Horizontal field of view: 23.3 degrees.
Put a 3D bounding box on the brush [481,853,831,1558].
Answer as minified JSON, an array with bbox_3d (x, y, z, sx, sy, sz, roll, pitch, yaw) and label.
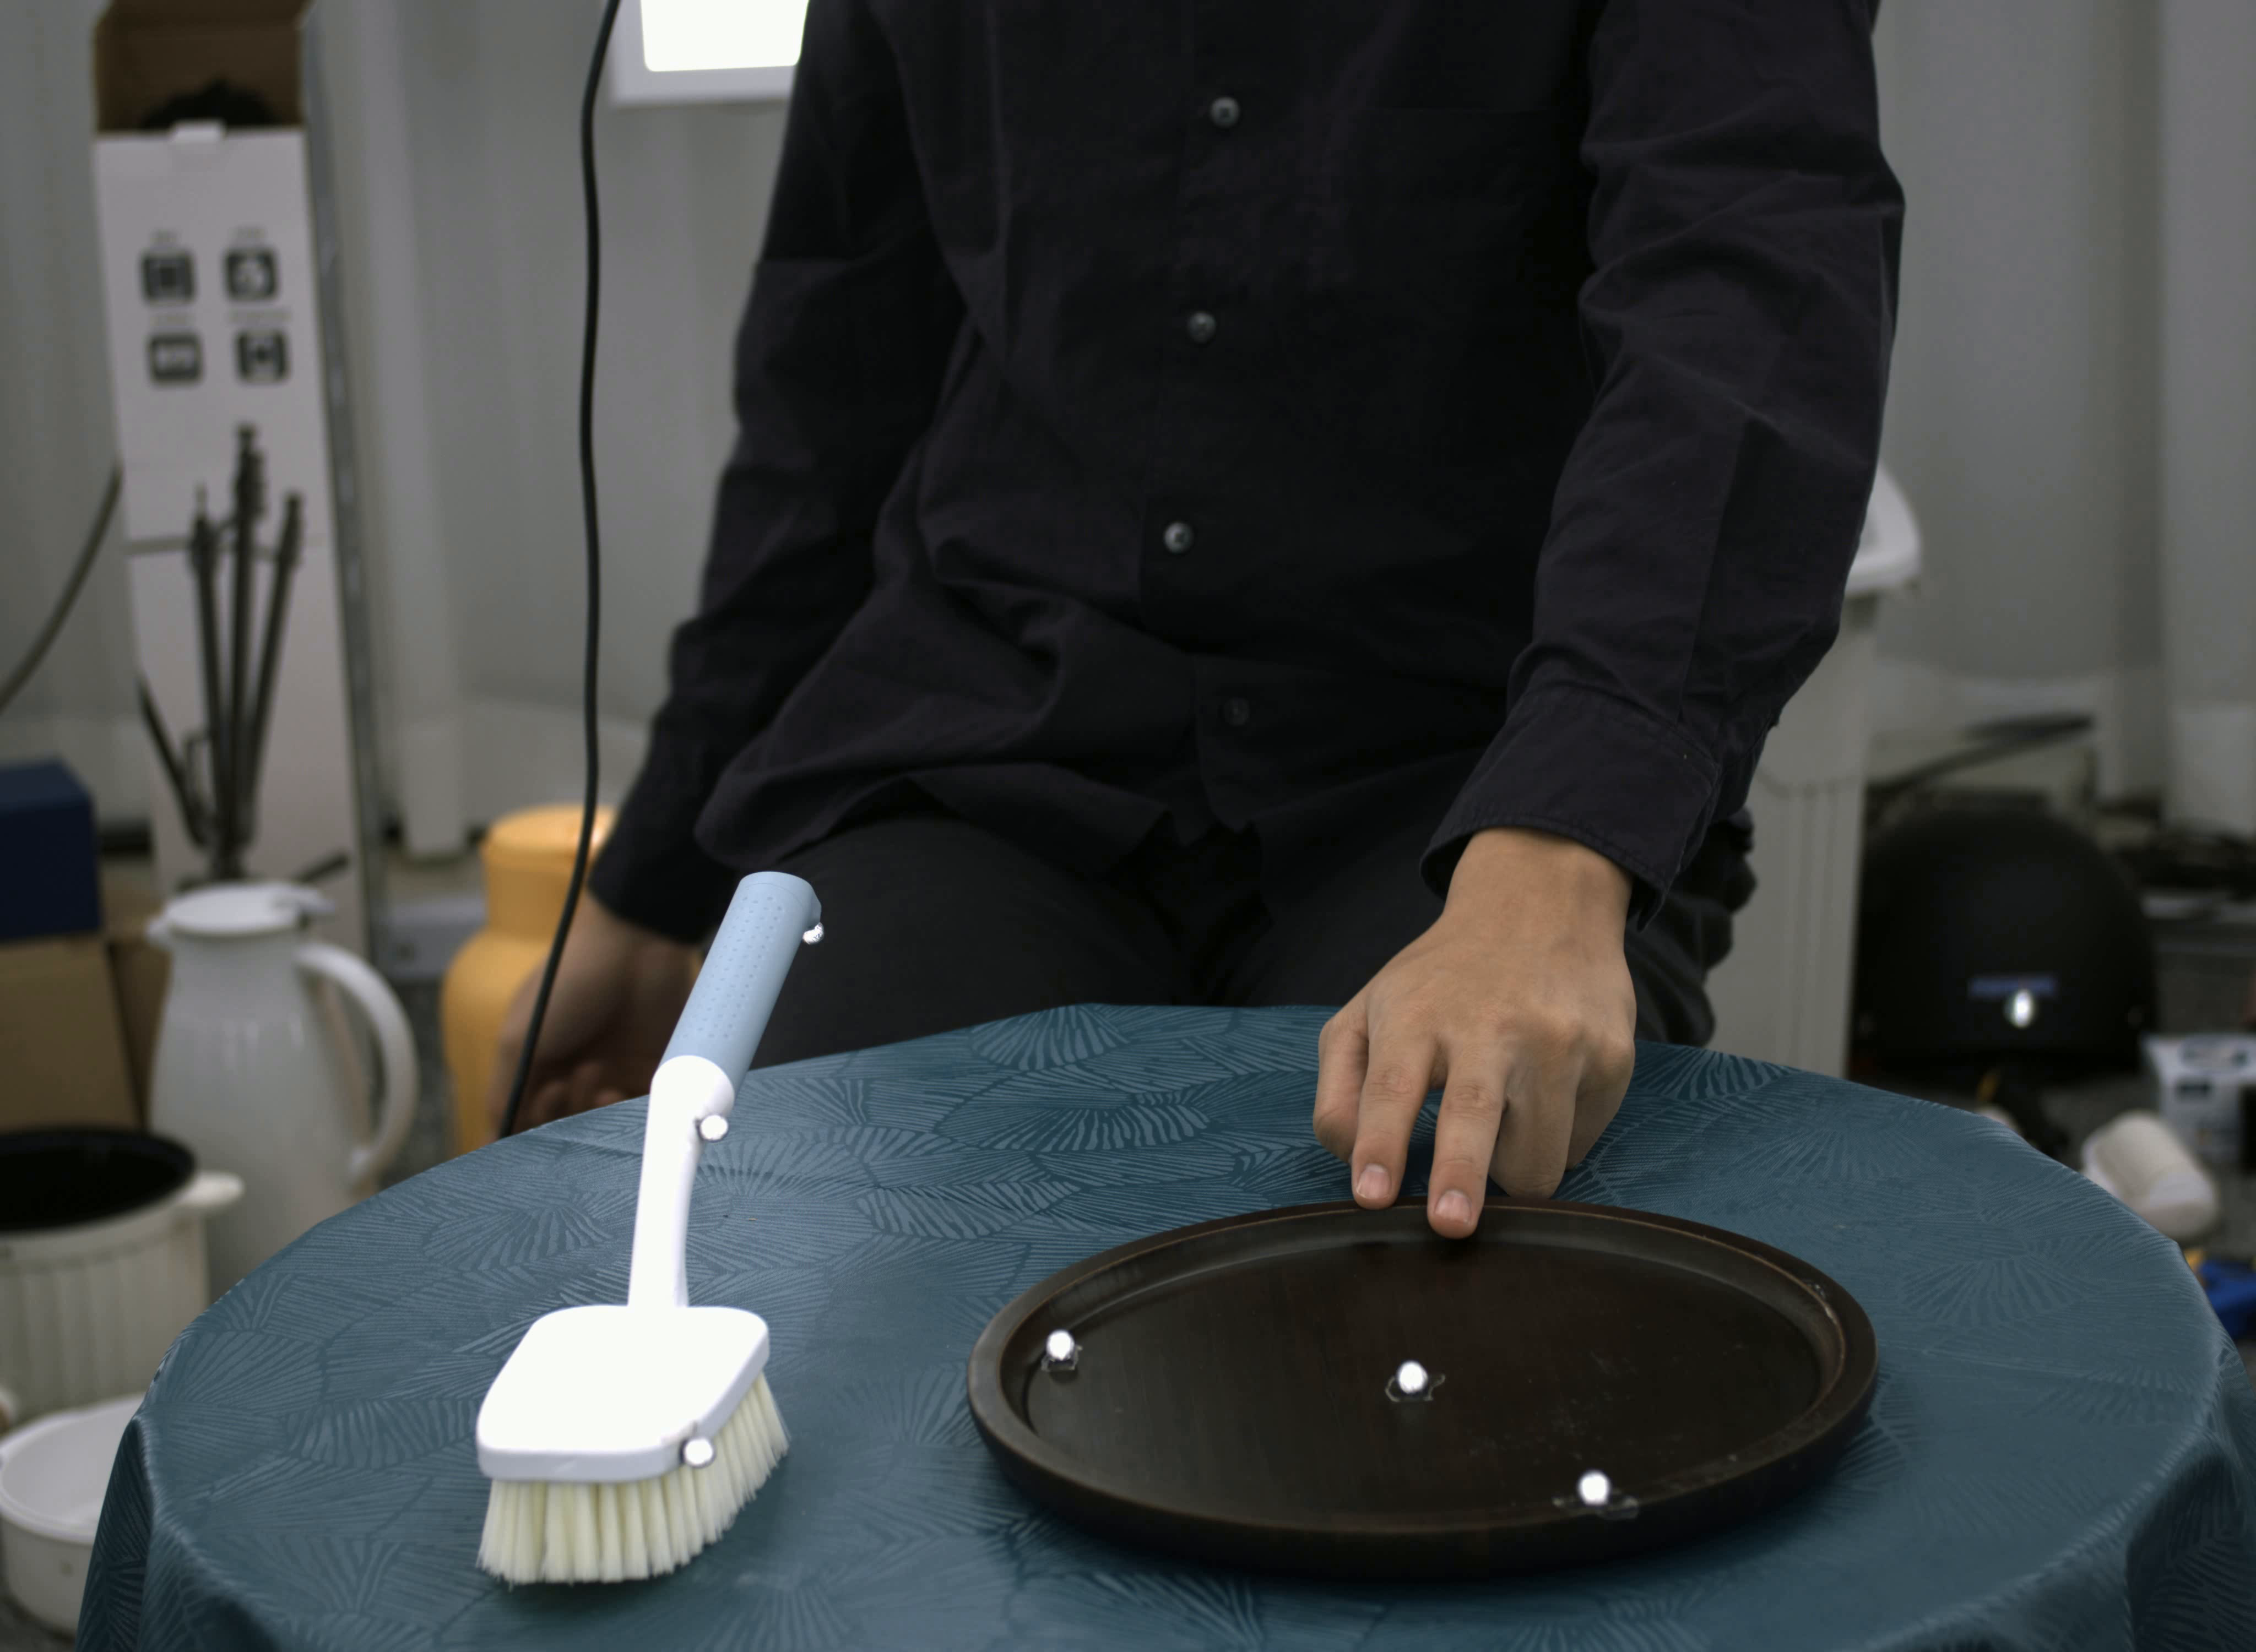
[{"bbox_3d":[-0.119,0.119,1.565,0.083,0.084,0.329,33,27,-8],"label":"brush"}]

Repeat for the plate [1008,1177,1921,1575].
[{"bbox_3d":[0.094,0.150,1.519,0.254,0.029,0.256,-5,16,1],"label":"plate"}]
